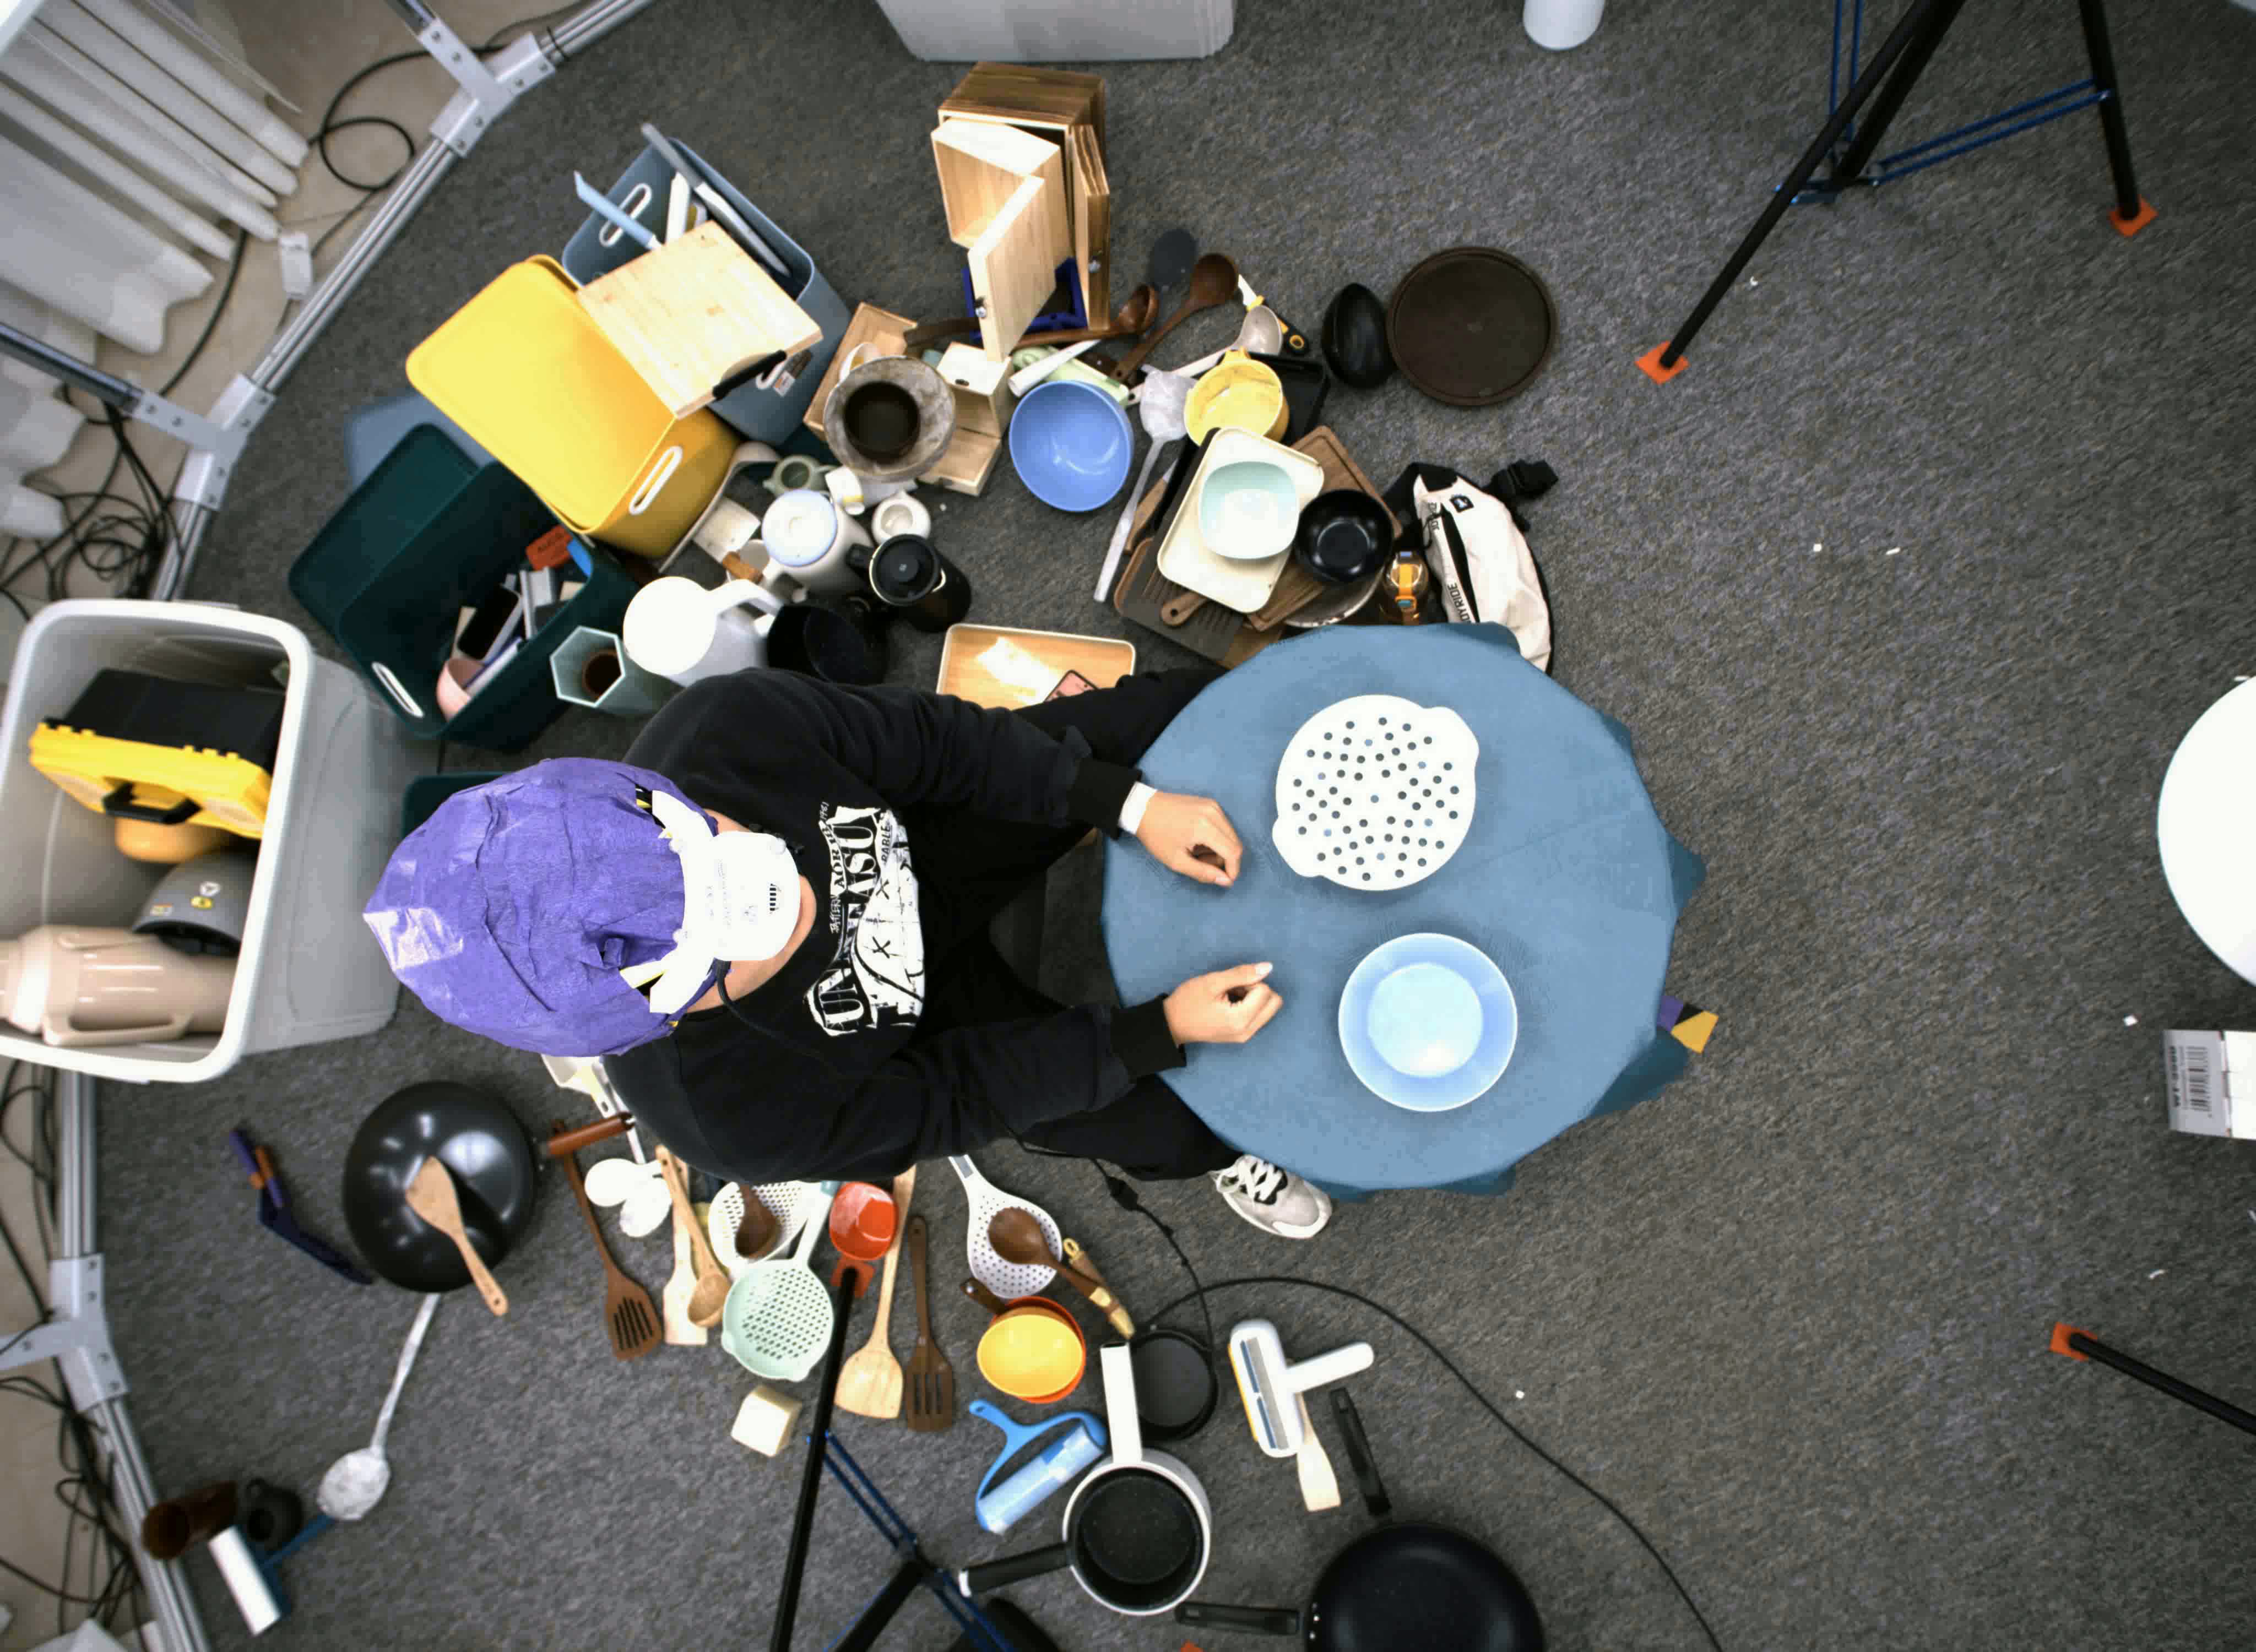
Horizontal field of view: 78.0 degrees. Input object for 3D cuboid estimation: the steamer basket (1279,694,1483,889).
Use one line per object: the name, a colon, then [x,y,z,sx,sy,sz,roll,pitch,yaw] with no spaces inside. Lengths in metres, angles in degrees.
steamer basket: [0.263,-0.034,1.439,0.231,0.069,0.200,-36,81,4]

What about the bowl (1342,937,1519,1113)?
bowl: [0.307,0.202,1.413,0.177,0.070,0.175,-1,85,10]
